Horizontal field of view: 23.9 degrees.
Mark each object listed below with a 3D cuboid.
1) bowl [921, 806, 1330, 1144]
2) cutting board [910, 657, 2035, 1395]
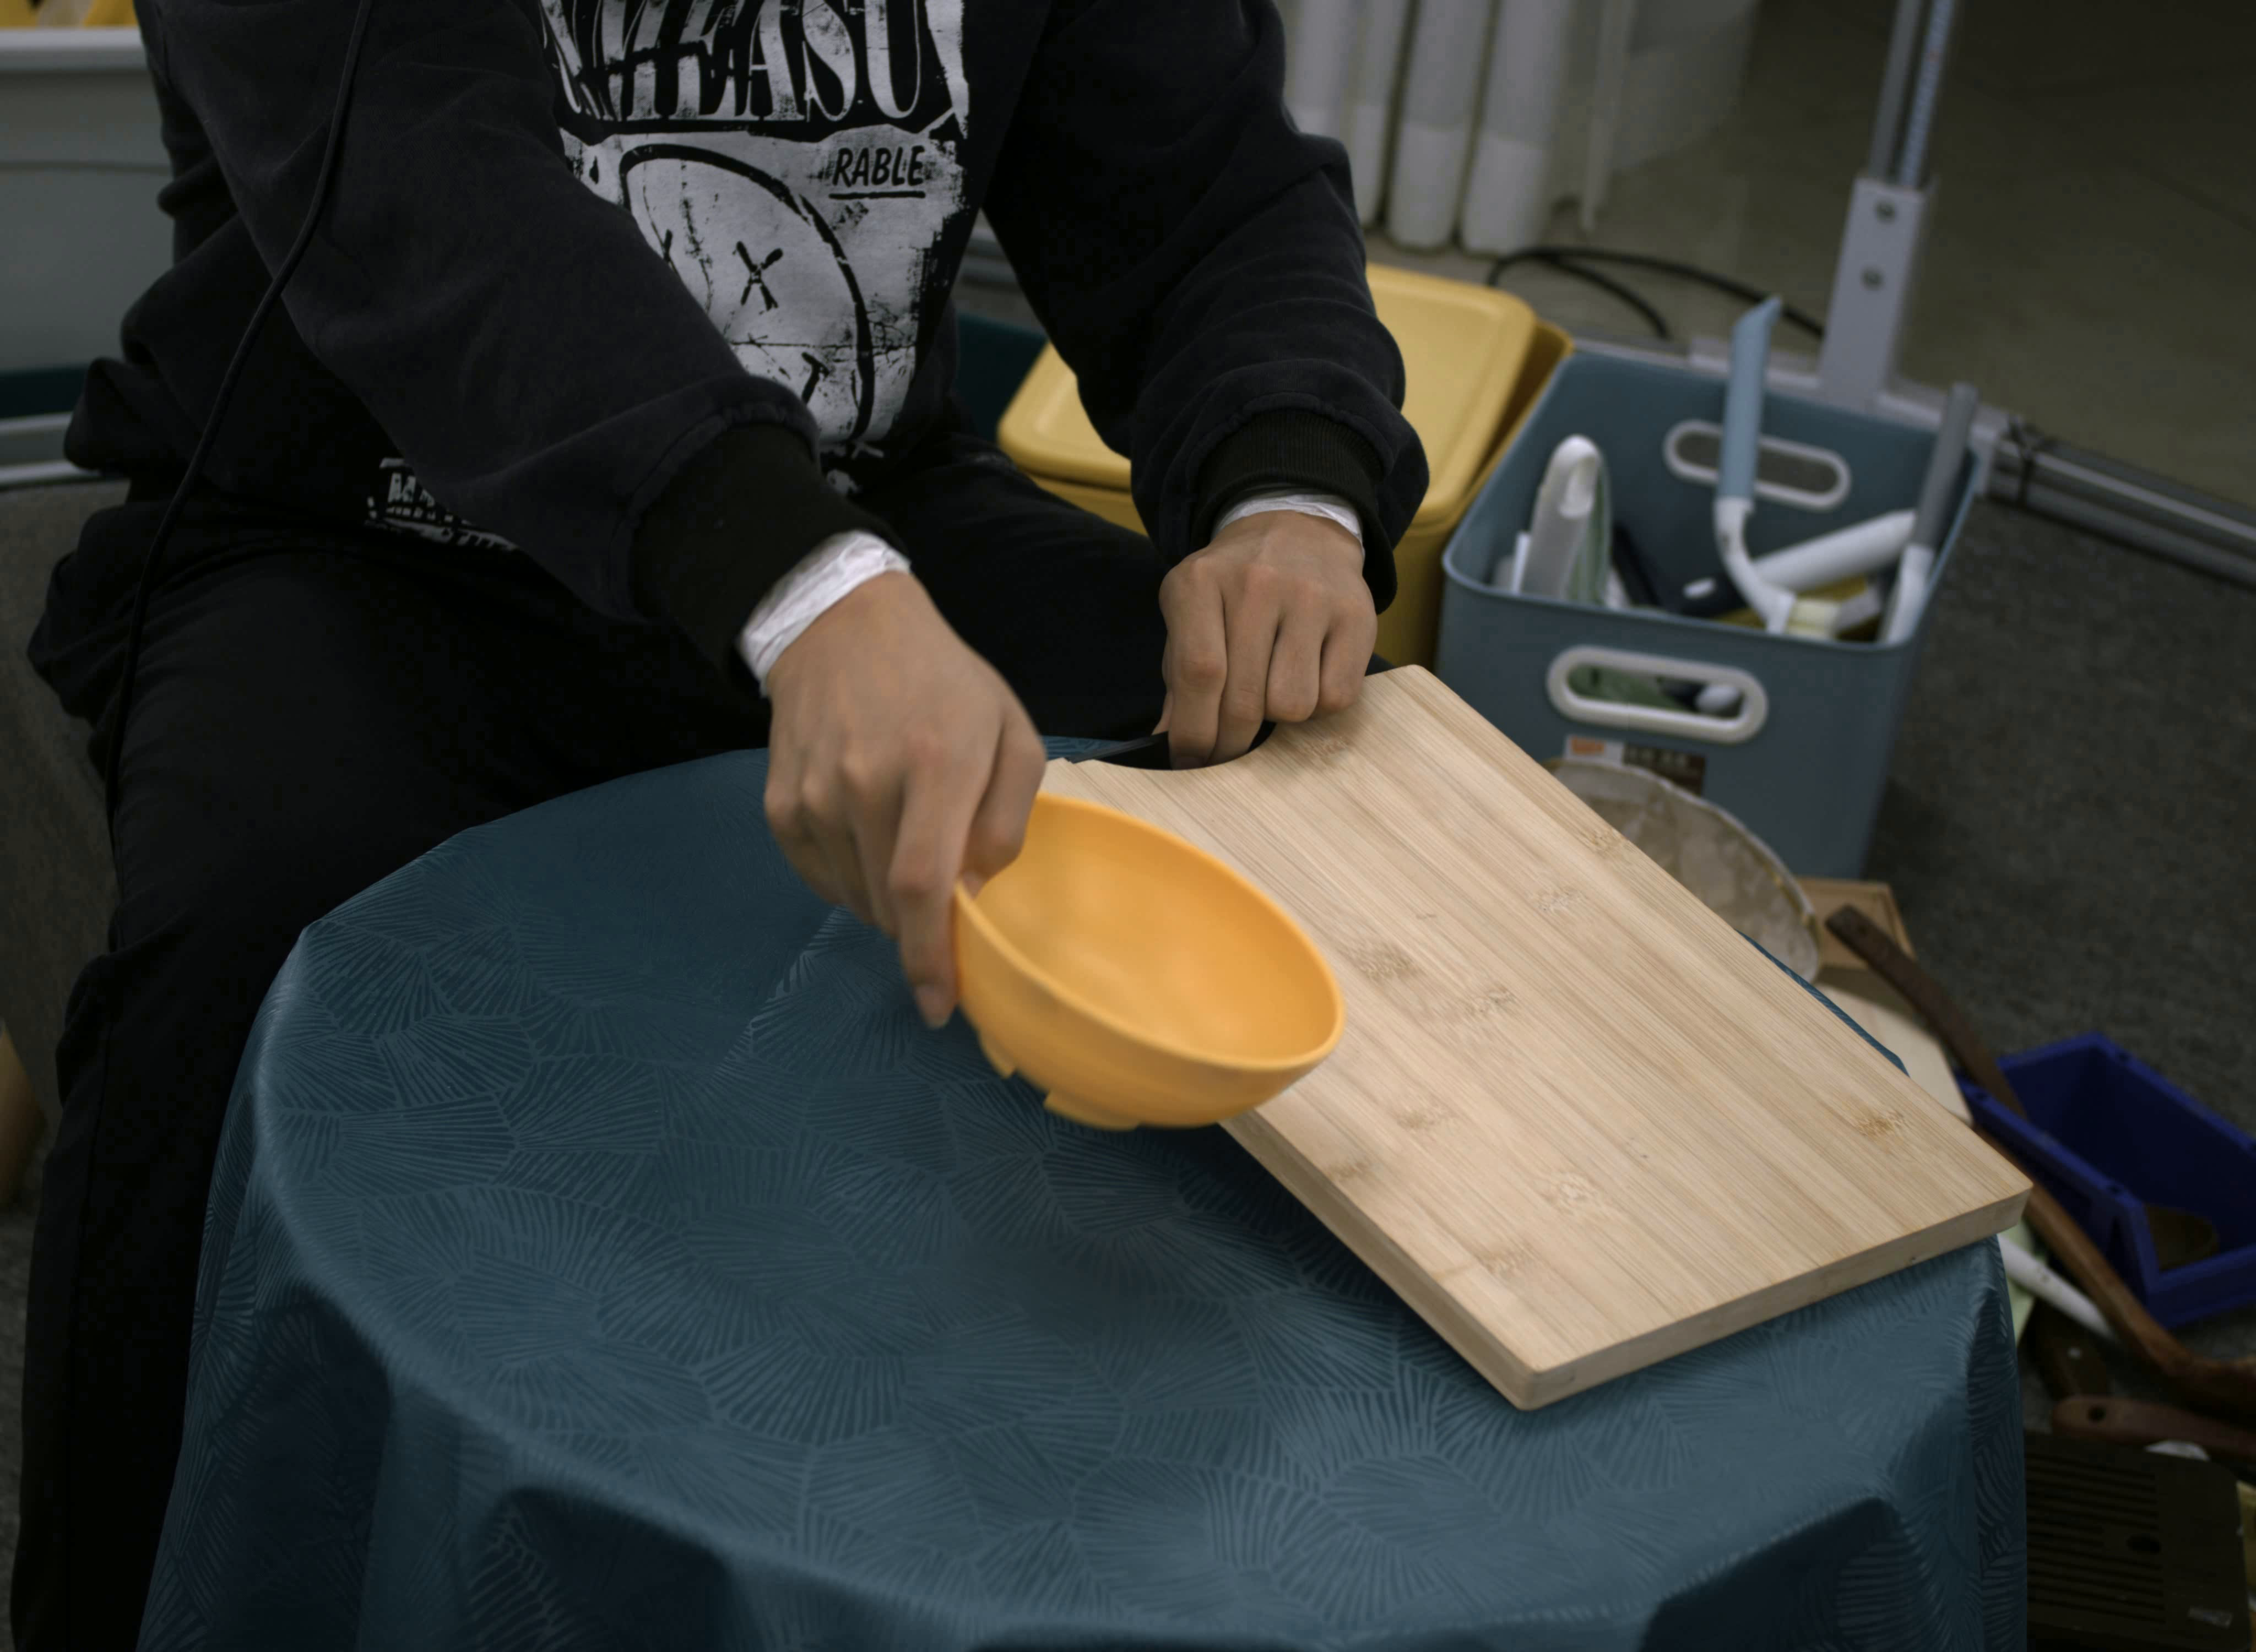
[{"bbox_3d":[-0.011,0.059,1.718,0.144,0.060,0.146,23,24,-11],"label":"bowl"},{"bbox_3d":[0.117,0.061,1.873,0.249,0.023,0.351,-15,43,-37],"label":"cutting board"}]
